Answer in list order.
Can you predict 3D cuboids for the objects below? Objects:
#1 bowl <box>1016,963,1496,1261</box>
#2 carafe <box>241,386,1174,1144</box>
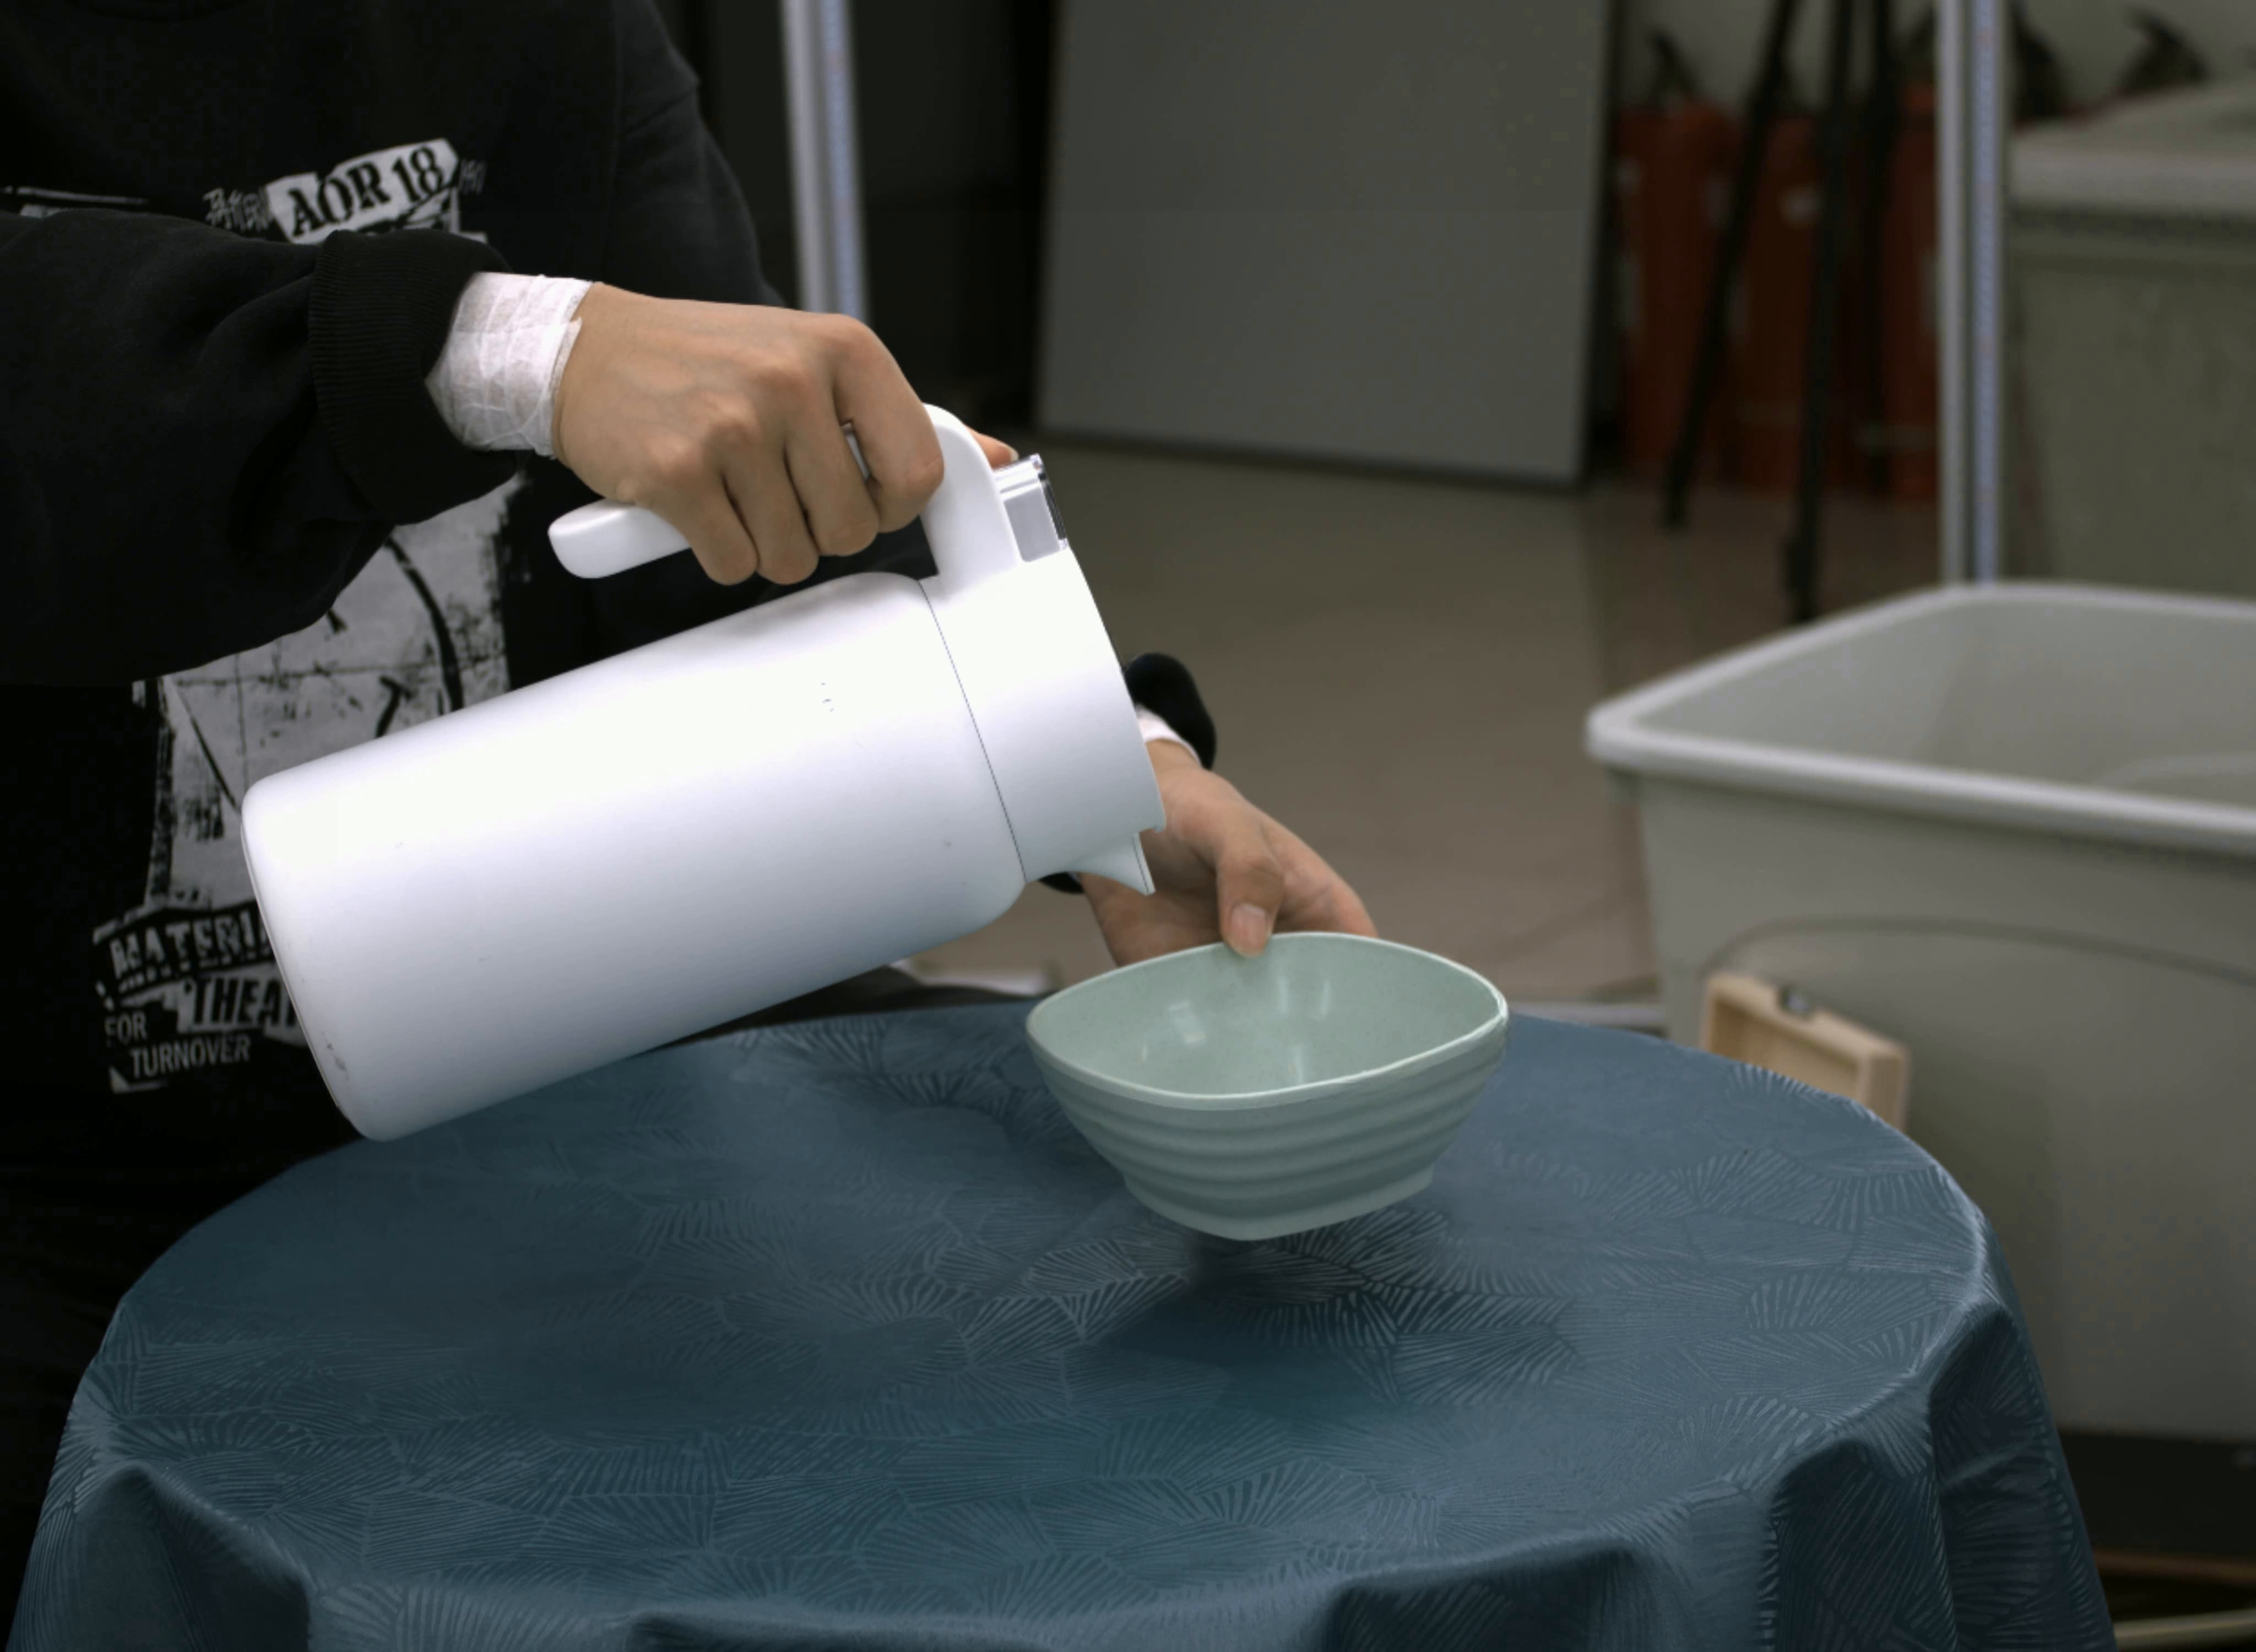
[{"bbox_3d":[0.043,0.091,1.656,0.149,0.059,0.151,-9,13,1],"label":"bowl"},{"bbox_3d":[-0.133,-0.018,1.633,0.266,0.174,0.124,-20,16,0],"label":"carafe"}]
